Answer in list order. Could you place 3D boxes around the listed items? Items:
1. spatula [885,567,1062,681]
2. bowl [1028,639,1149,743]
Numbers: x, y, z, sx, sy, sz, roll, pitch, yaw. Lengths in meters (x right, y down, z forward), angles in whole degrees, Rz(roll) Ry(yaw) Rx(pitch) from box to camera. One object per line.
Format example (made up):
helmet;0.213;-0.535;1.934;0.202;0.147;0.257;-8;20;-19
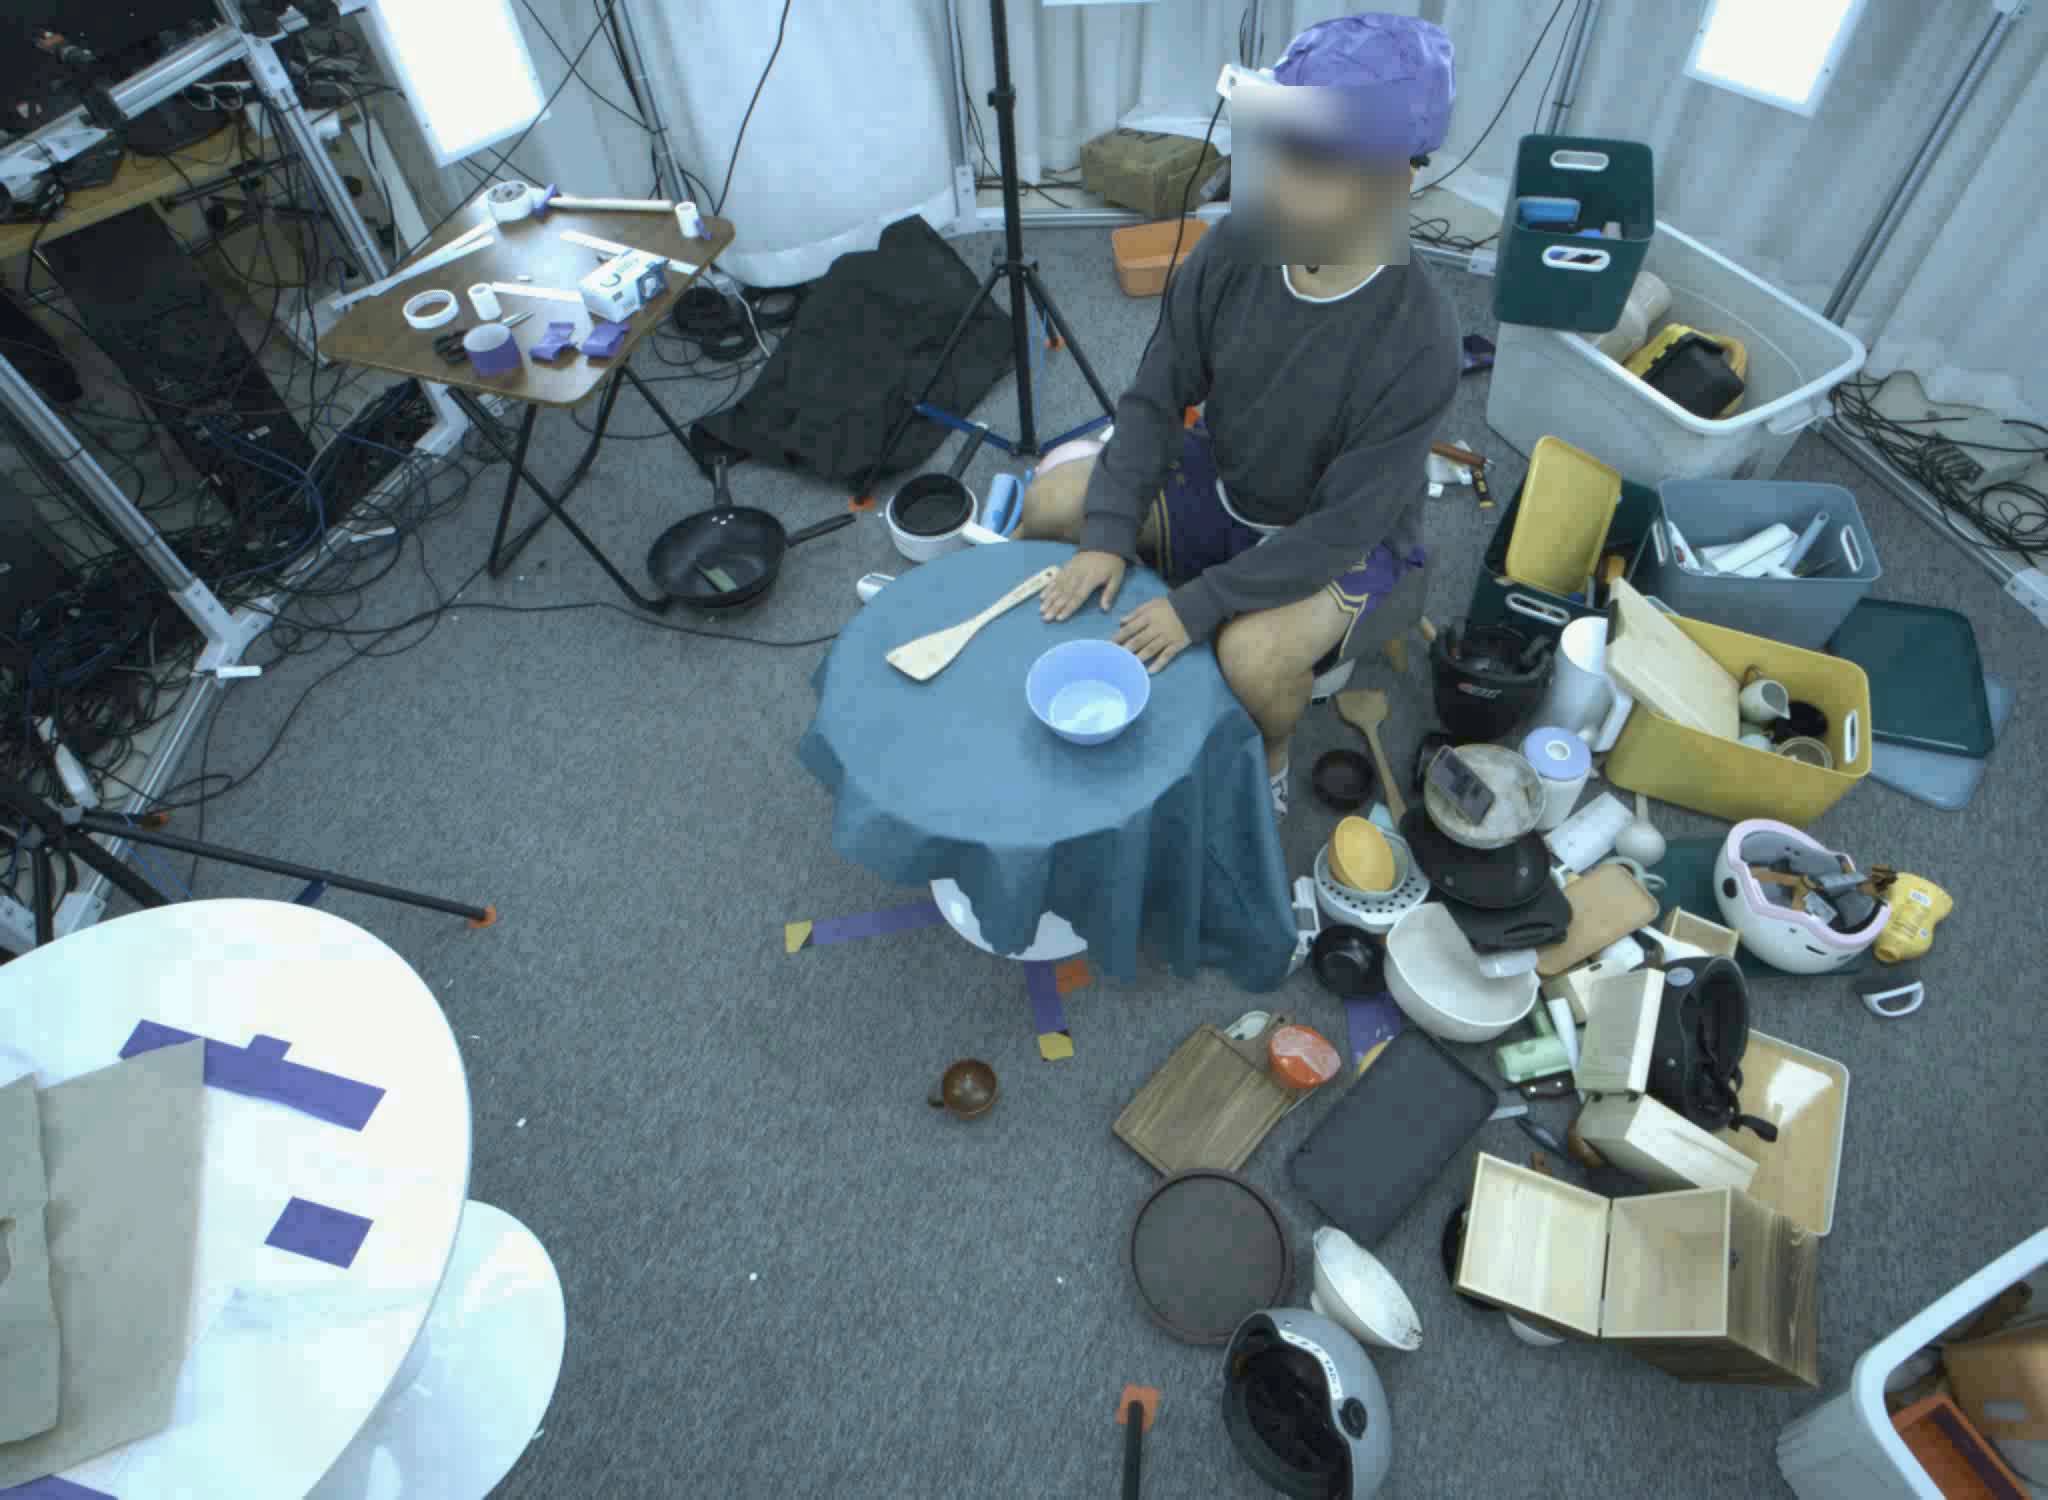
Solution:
spatula;-0.067;-0.205;1.928;0.330;0.017;0.078;-36;60;-21
bowl;0.095;-0.075;1.797;0.176;0.071;0.174;-1;55;2
